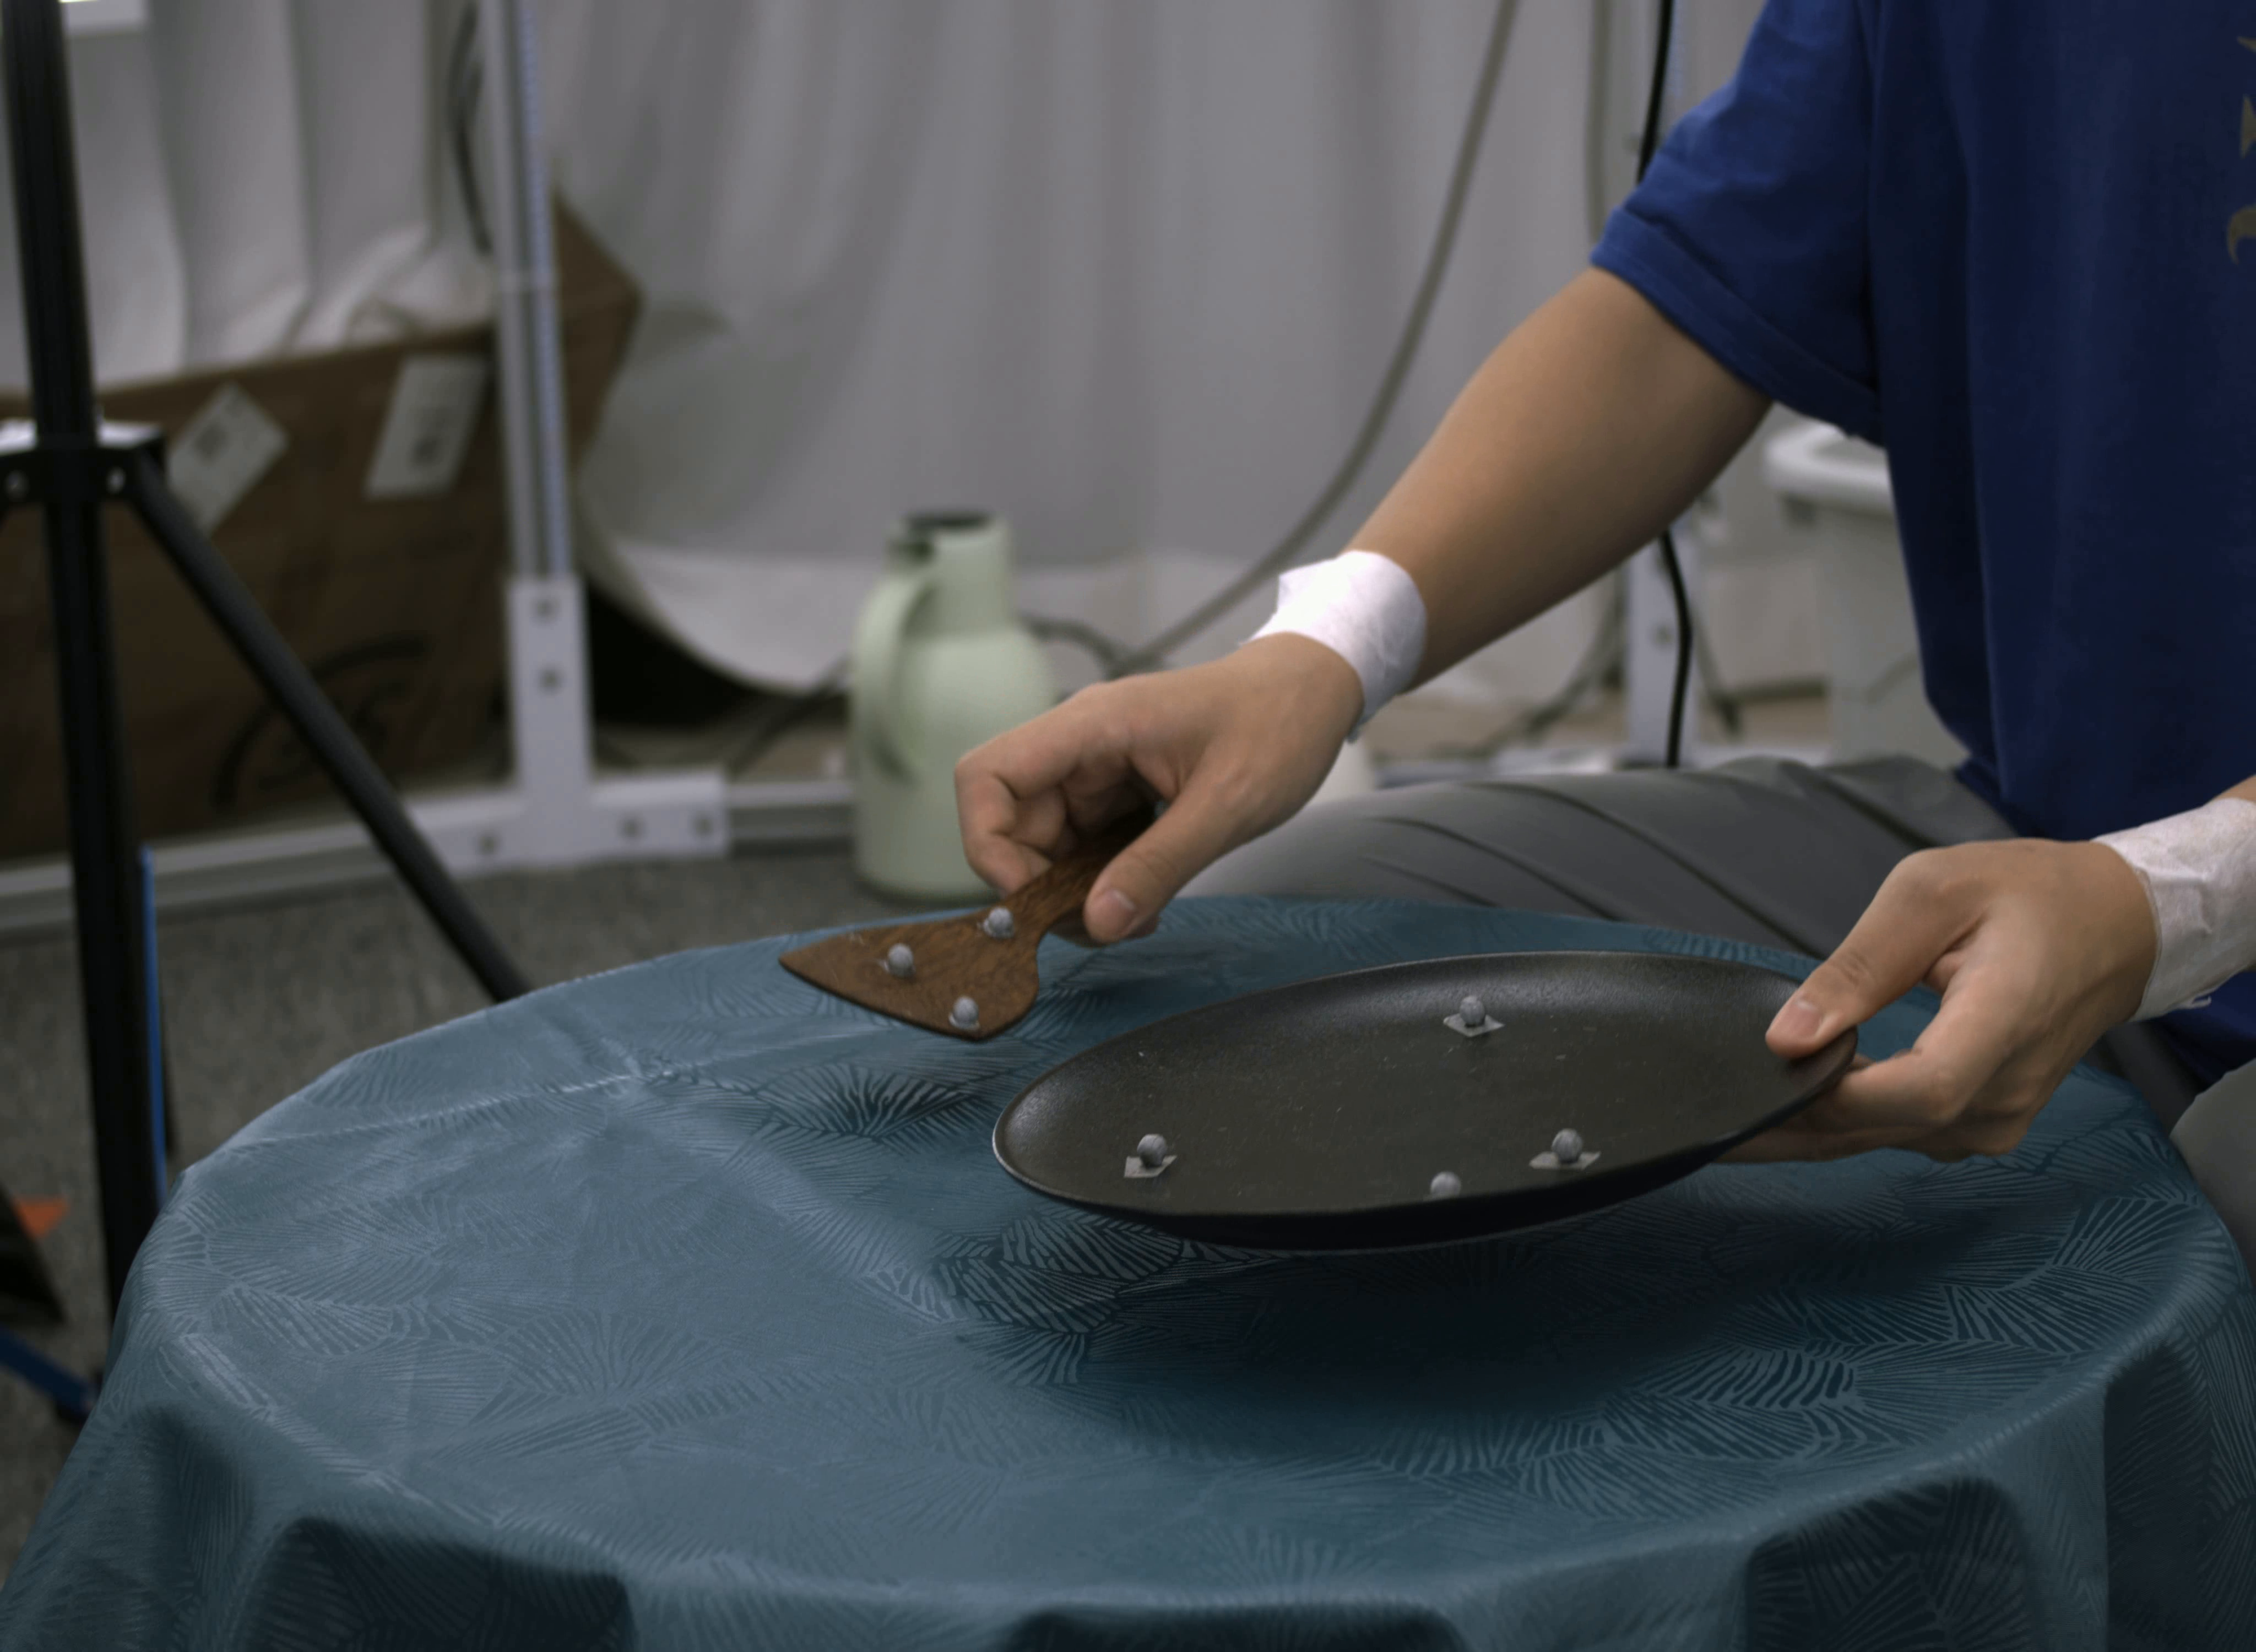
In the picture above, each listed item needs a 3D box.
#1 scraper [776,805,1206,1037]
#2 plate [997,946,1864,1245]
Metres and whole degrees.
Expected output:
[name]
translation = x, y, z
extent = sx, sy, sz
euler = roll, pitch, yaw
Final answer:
[scraper]
translation = -0.032, 0.026, 1.705
extent = 0.077, 0.011, 0.208
euler = 21, 26, 23
[plate]
translation = 0.085, 0.077, 1.481
extent = 0.243, 0.023, 0.245
euler = -9, 13, 1
